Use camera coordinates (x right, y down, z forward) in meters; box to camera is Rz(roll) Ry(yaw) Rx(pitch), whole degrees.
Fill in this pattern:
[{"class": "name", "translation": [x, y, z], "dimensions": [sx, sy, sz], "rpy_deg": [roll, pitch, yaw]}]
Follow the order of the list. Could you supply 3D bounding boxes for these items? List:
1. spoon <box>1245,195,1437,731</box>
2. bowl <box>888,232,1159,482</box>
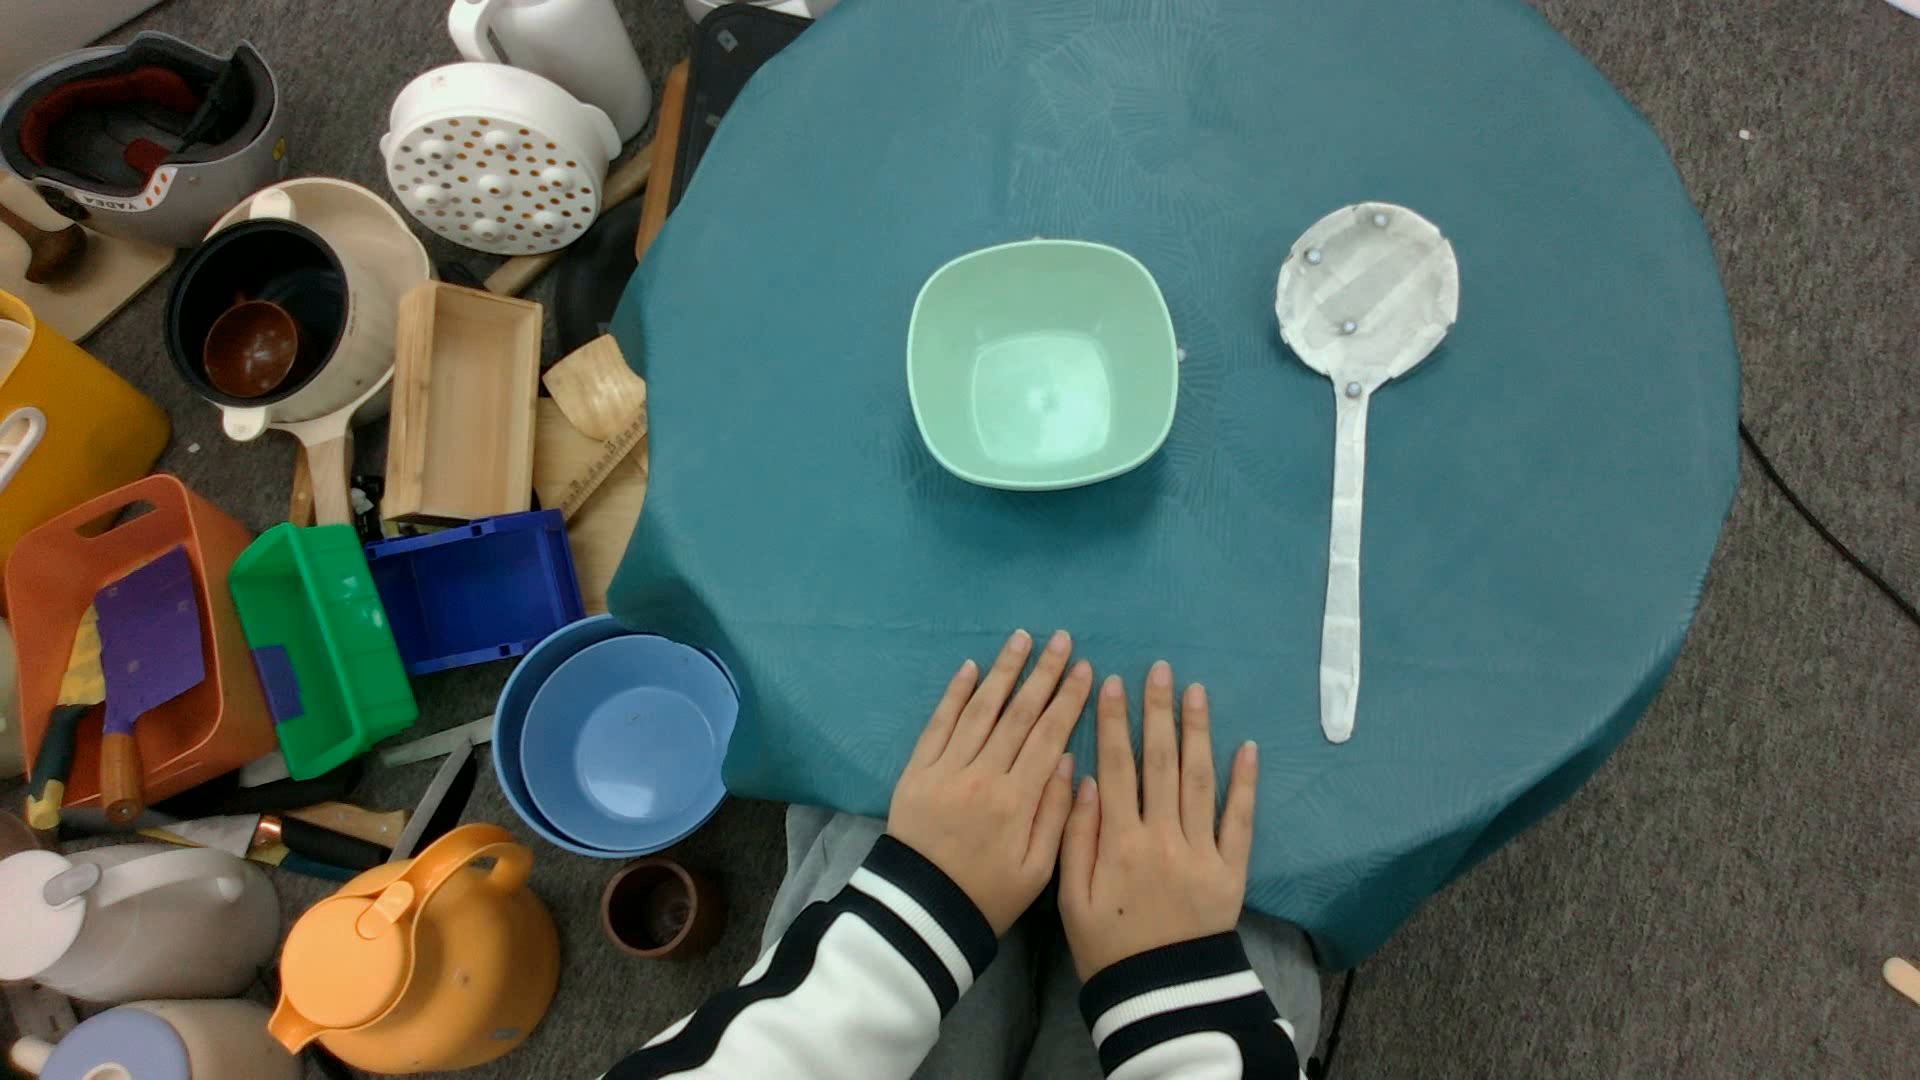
[{"class": "spoon", "translation": [0.185, -0.043, 0.708], "dimensions": [0.100, 0.059, 0.278], "rpy_deg": [8, 72, 10]}, {"class": "bowl", "translation": [0.033, -0.088, 0.730], "dimensions": [0.151, 0.058, 0.152], "rpy_deg": [0, 72, 1]}]
